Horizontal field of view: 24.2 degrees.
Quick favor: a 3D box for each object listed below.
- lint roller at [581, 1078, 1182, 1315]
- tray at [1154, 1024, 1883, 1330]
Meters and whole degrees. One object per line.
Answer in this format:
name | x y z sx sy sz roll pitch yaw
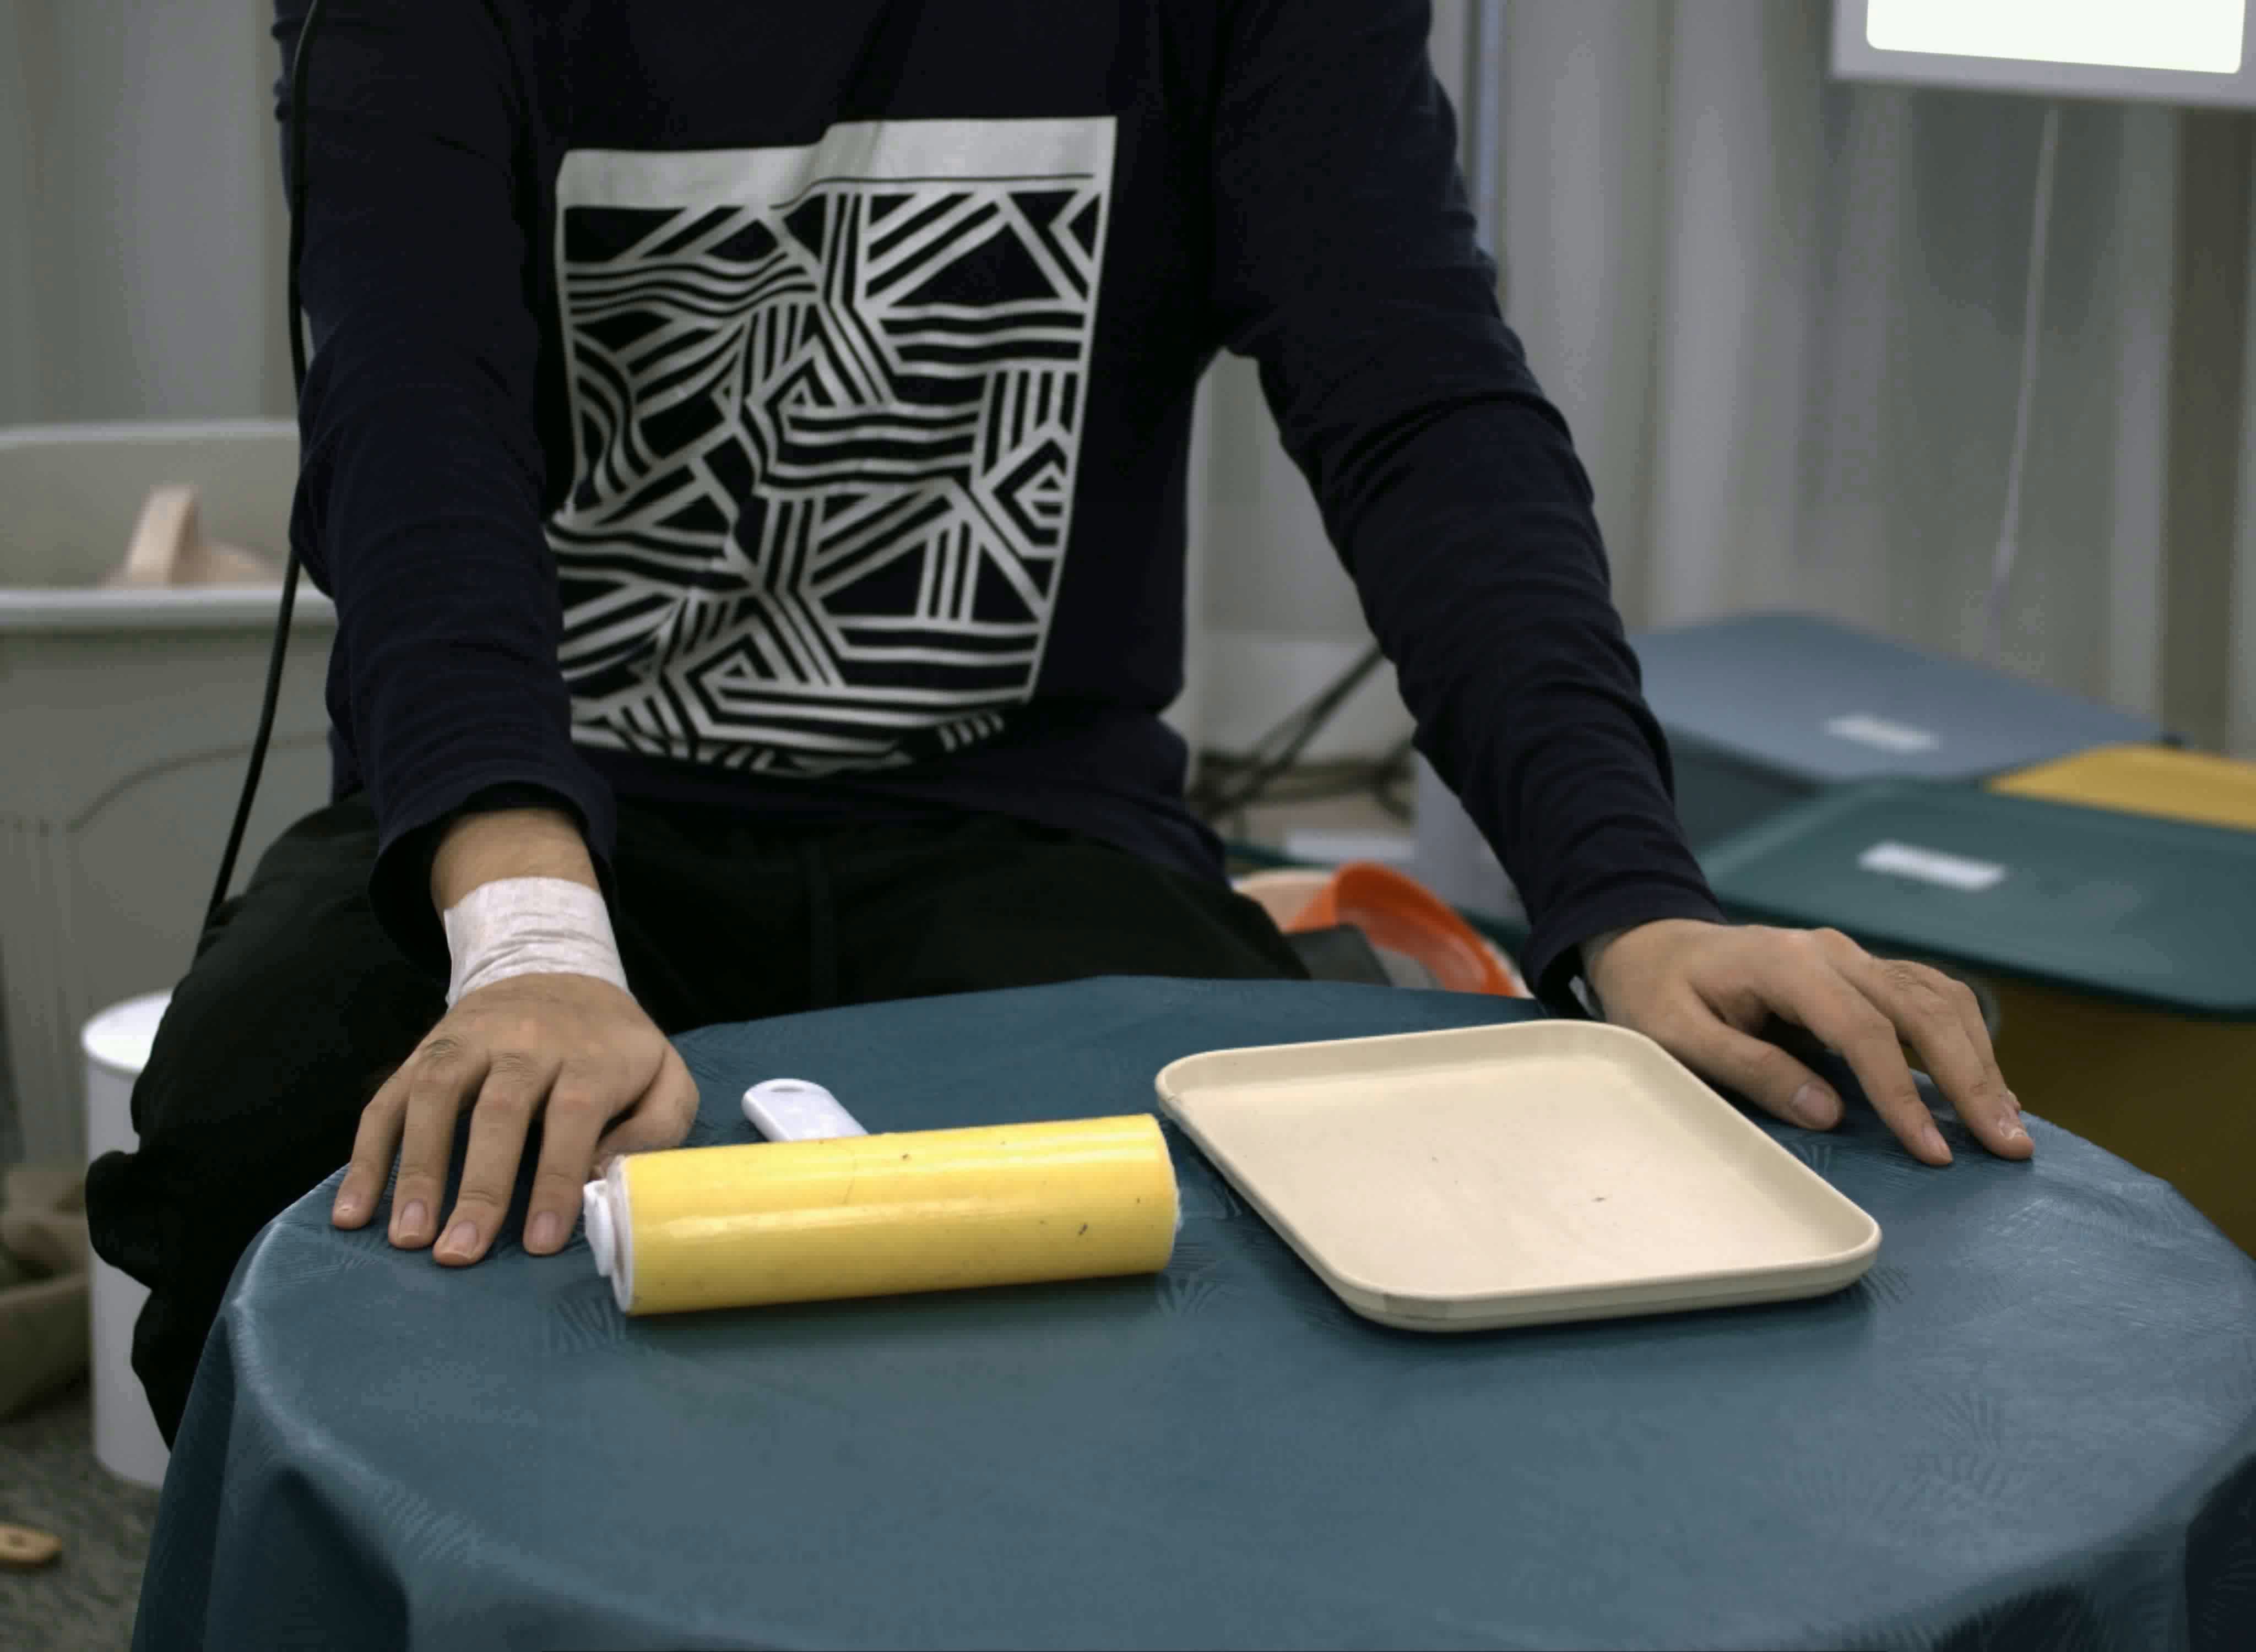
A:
lint roller | -0.090 0.094 1.596 0.174 0.052 0.190 -3 19 -16
tray | 0.115 0.106 1.618 0.171 0.017 0.237 -3 16 -16
